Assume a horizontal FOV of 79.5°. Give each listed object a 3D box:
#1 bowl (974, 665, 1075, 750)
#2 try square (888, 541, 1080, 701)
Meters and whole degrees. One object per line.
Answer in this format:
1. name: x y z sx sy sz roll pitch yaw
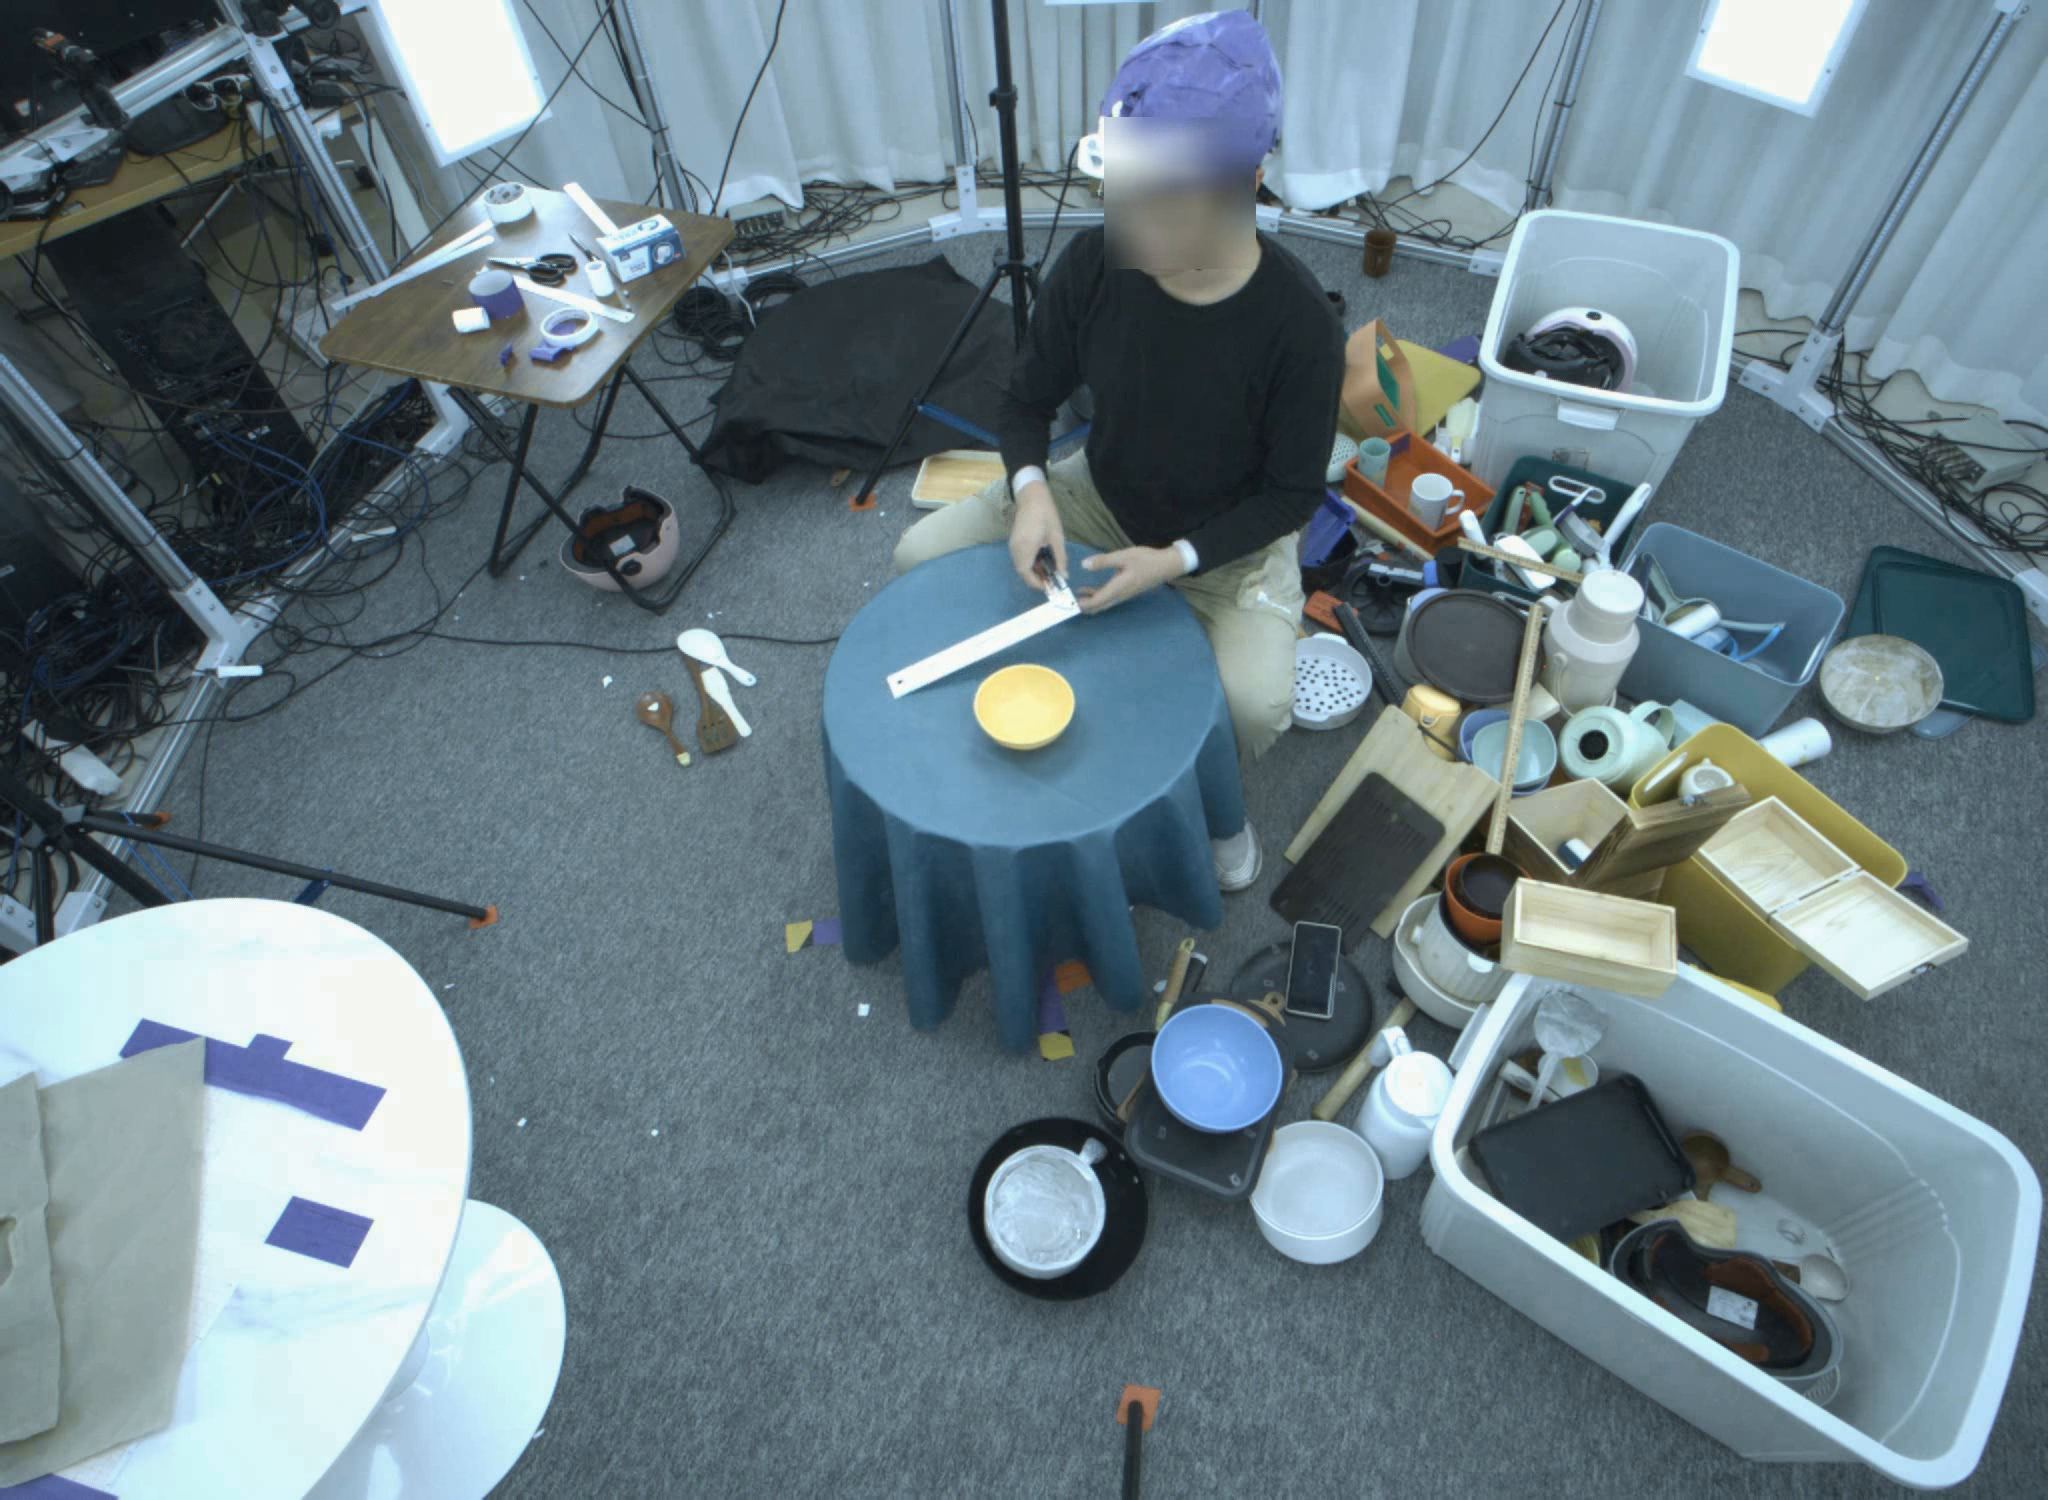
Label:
1. bowl: 0.001 -0.051 1.790 0.145 0.060 0.144 1 54 0
2. try square: -0.081 -0.200 1.884 0.313 0.016 0.150 -26 61 -1
